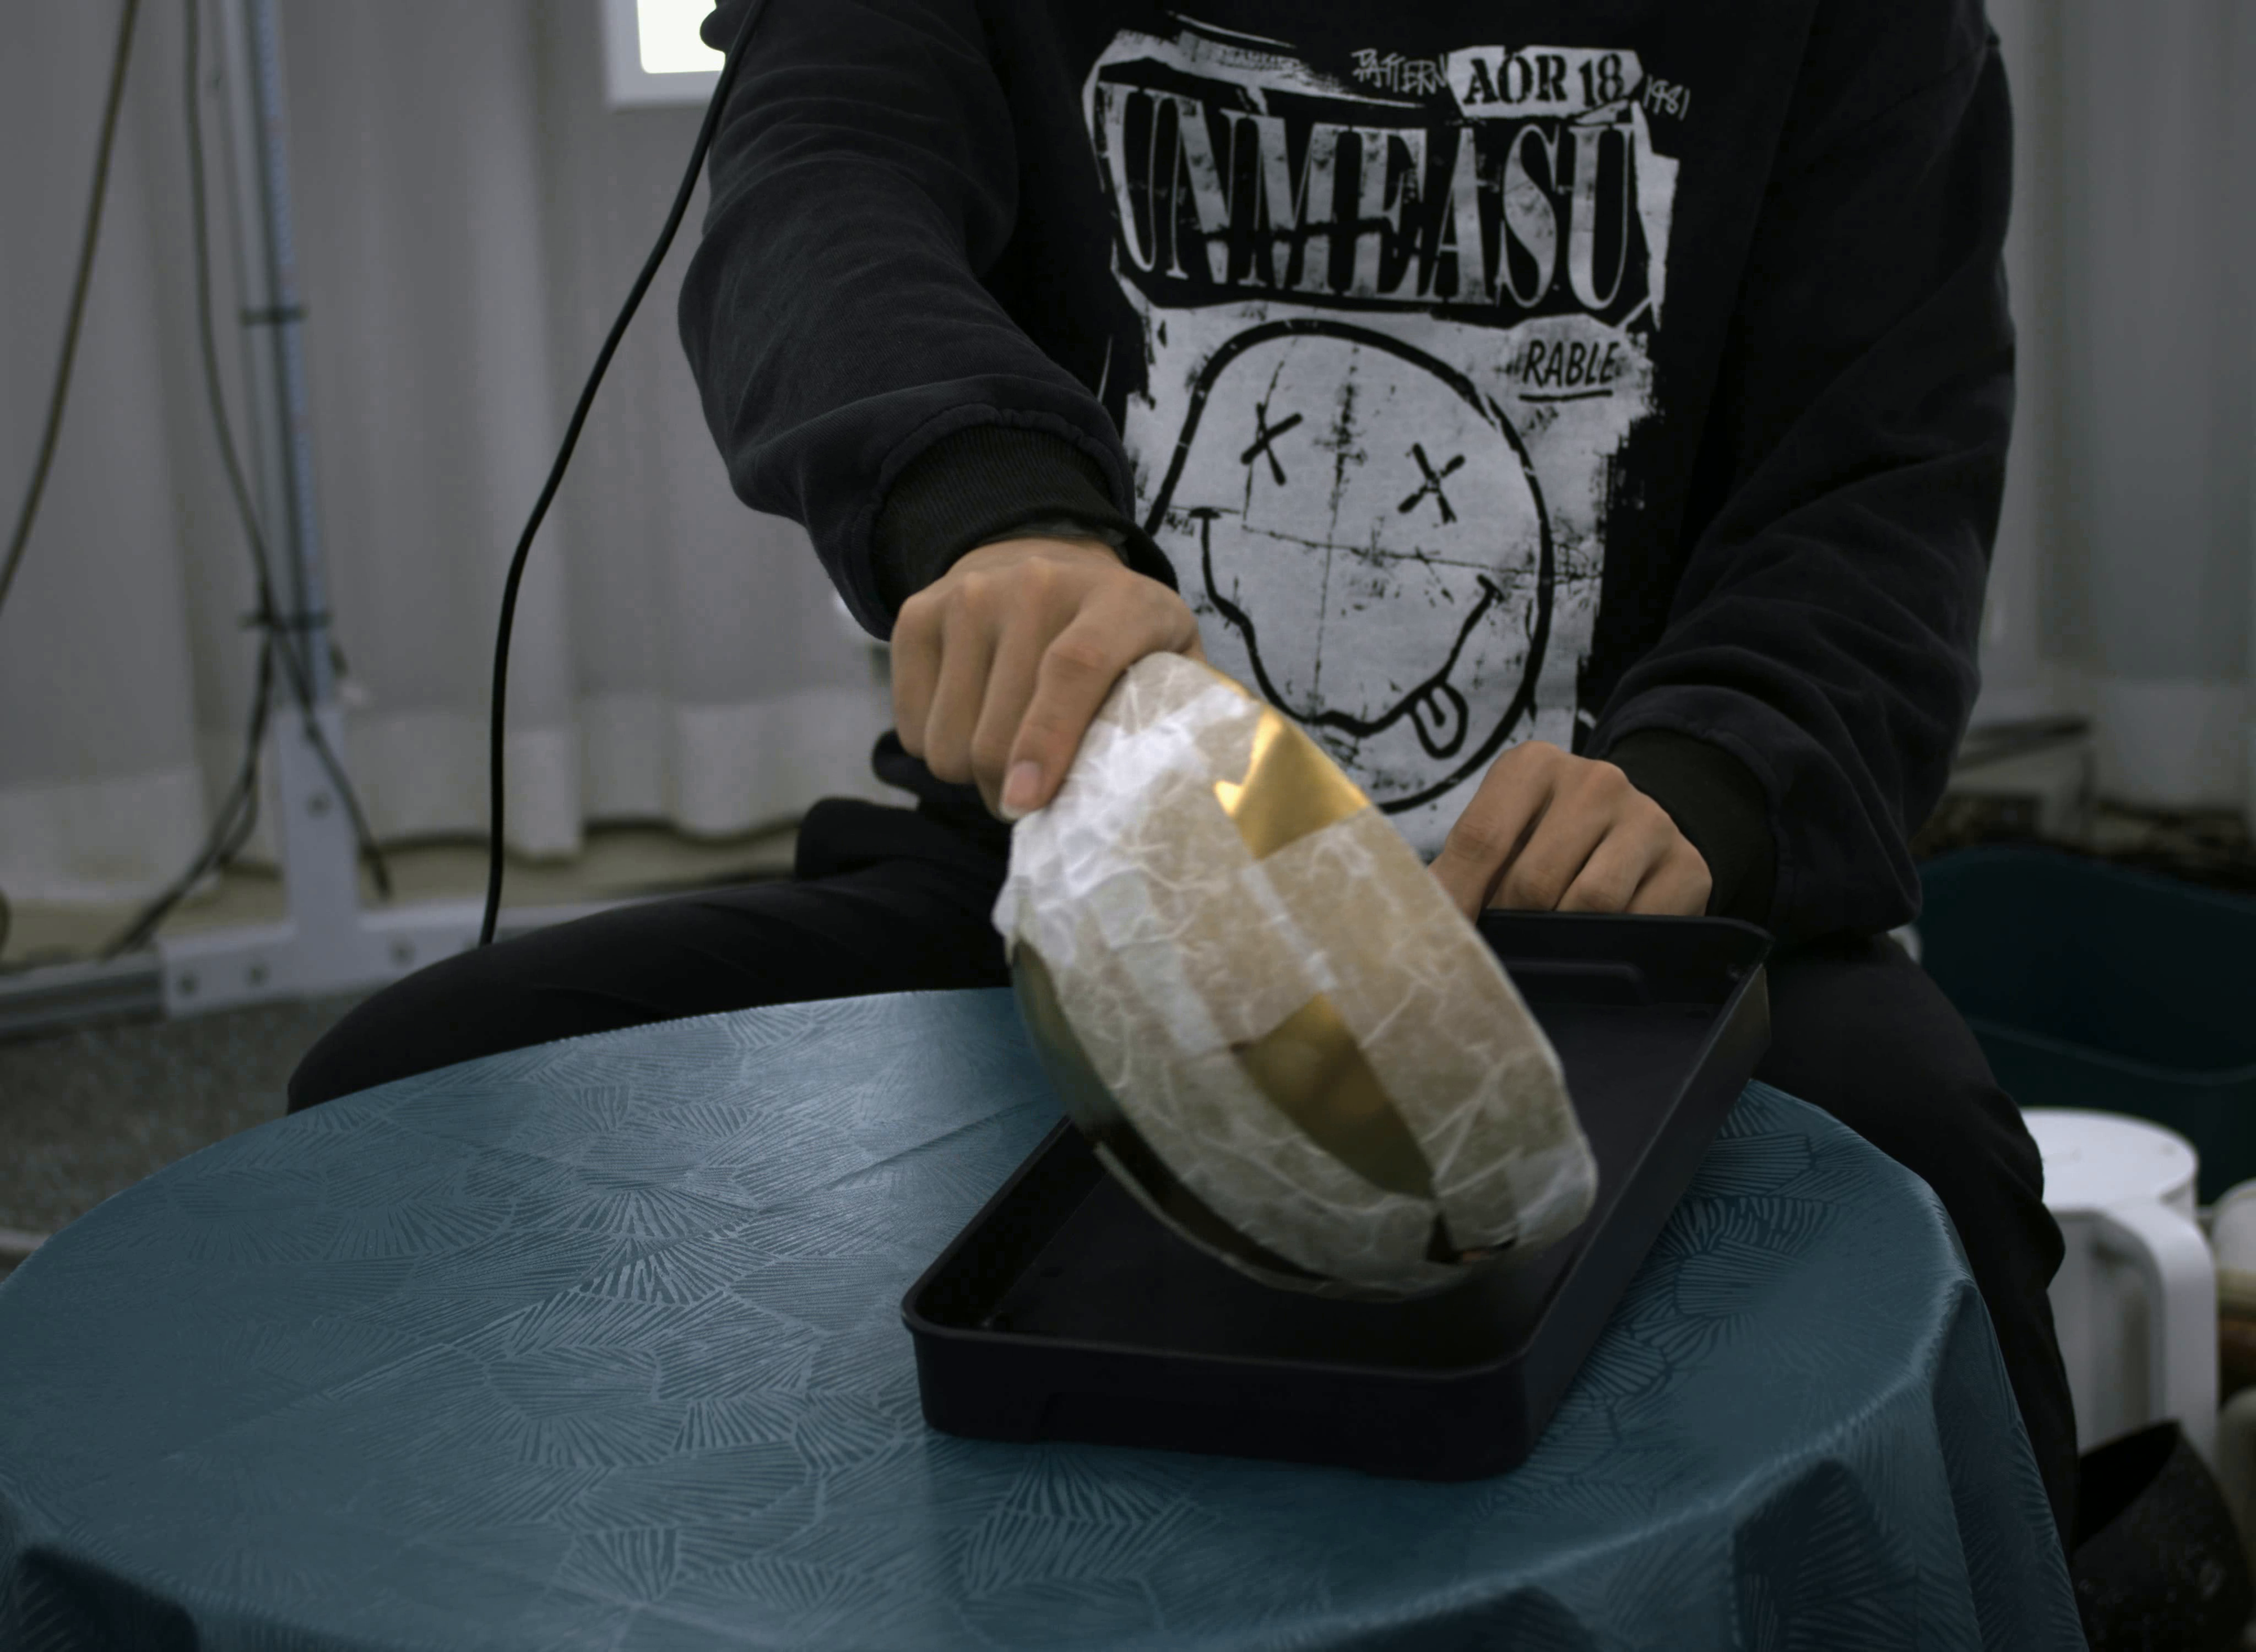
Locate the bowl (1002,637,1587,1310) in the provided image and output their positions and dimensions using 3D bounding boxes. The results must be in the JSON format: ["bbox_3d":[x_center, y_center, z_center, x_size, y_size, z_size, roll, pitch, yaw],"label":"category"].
[{"bbox_3d":[0.028,0.059,1.518,0.094,0.213,0.216,-36,24,-13],"label":"bowl"}]

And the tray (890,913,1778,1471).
[{"bbox_3d":[0.070,0.100,1.618,0.184,0.037,0.319,1,21,22],"label":"tray"}]
